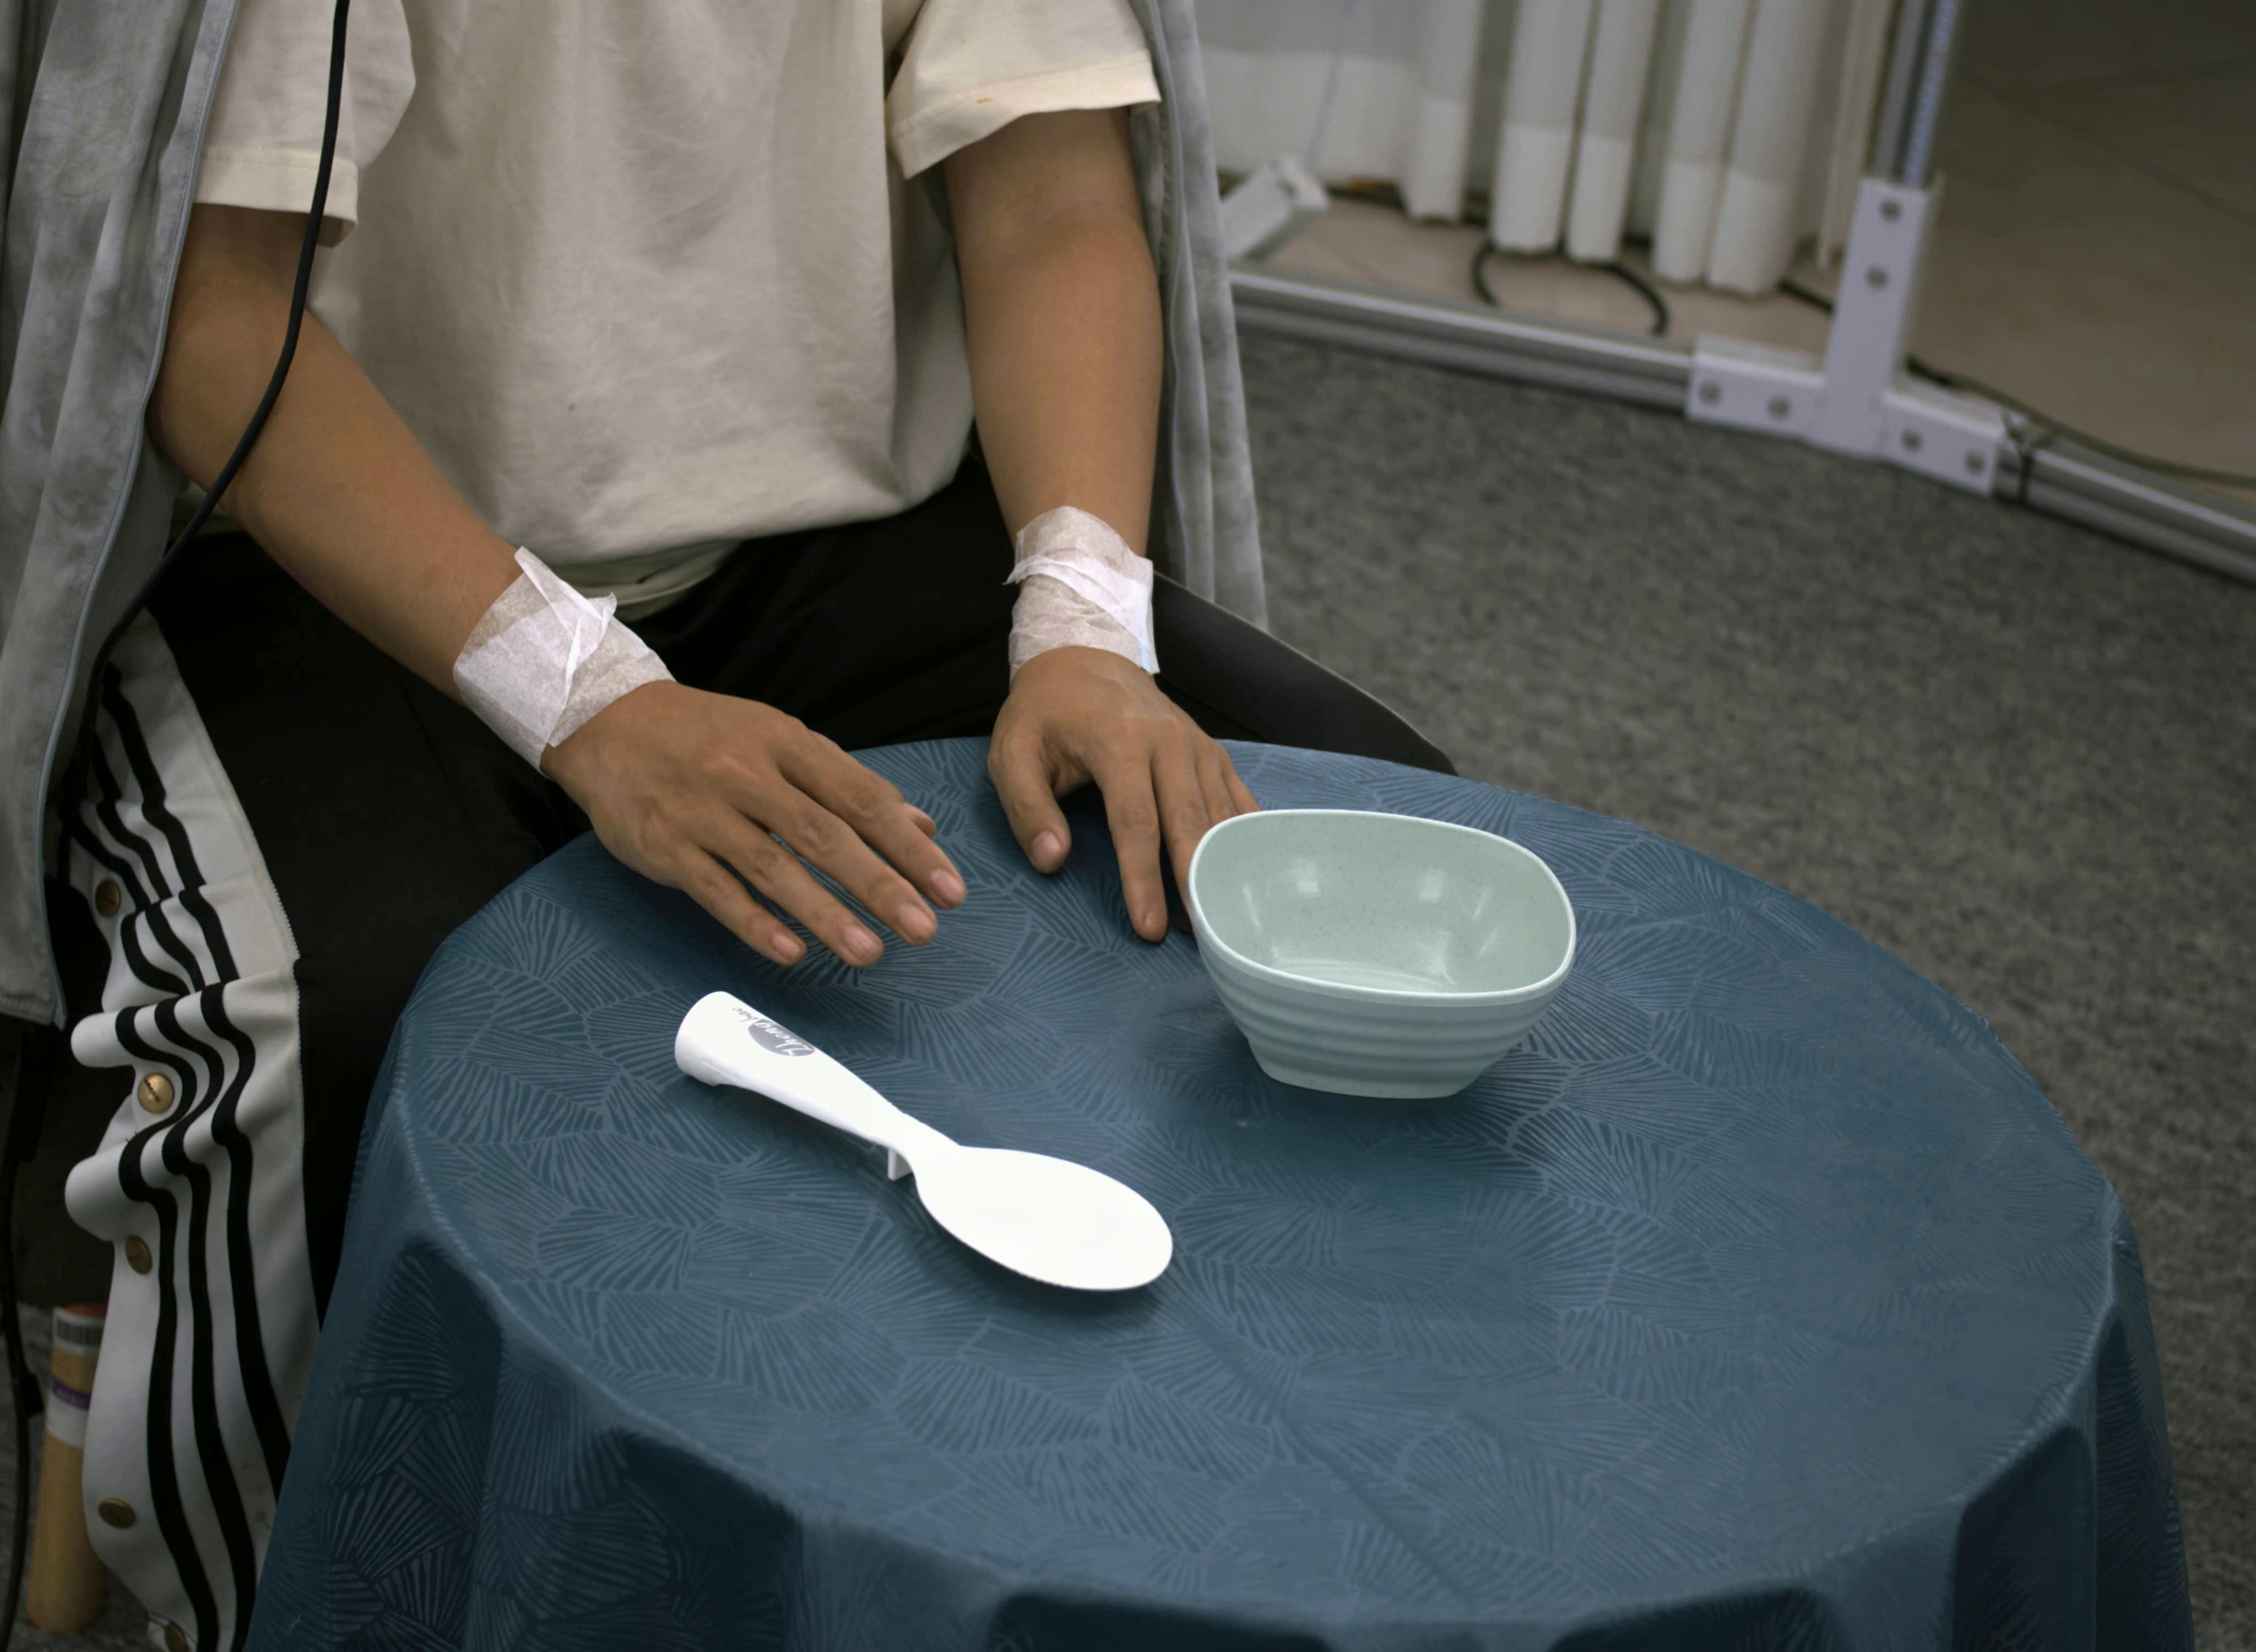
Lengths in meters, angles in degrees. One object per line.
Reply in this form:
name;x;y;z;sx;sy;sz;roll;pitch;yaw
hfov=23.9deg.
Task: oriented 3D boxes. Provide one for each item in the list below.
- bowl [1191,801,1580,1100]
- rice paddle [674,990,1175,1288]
bowl;0.089;0.050;1.902;0.151;0.058;0.152;3;30;-2
rice paddle;-0.069;0.107;1.789;0.206;0.029;0.068;26;34;33
